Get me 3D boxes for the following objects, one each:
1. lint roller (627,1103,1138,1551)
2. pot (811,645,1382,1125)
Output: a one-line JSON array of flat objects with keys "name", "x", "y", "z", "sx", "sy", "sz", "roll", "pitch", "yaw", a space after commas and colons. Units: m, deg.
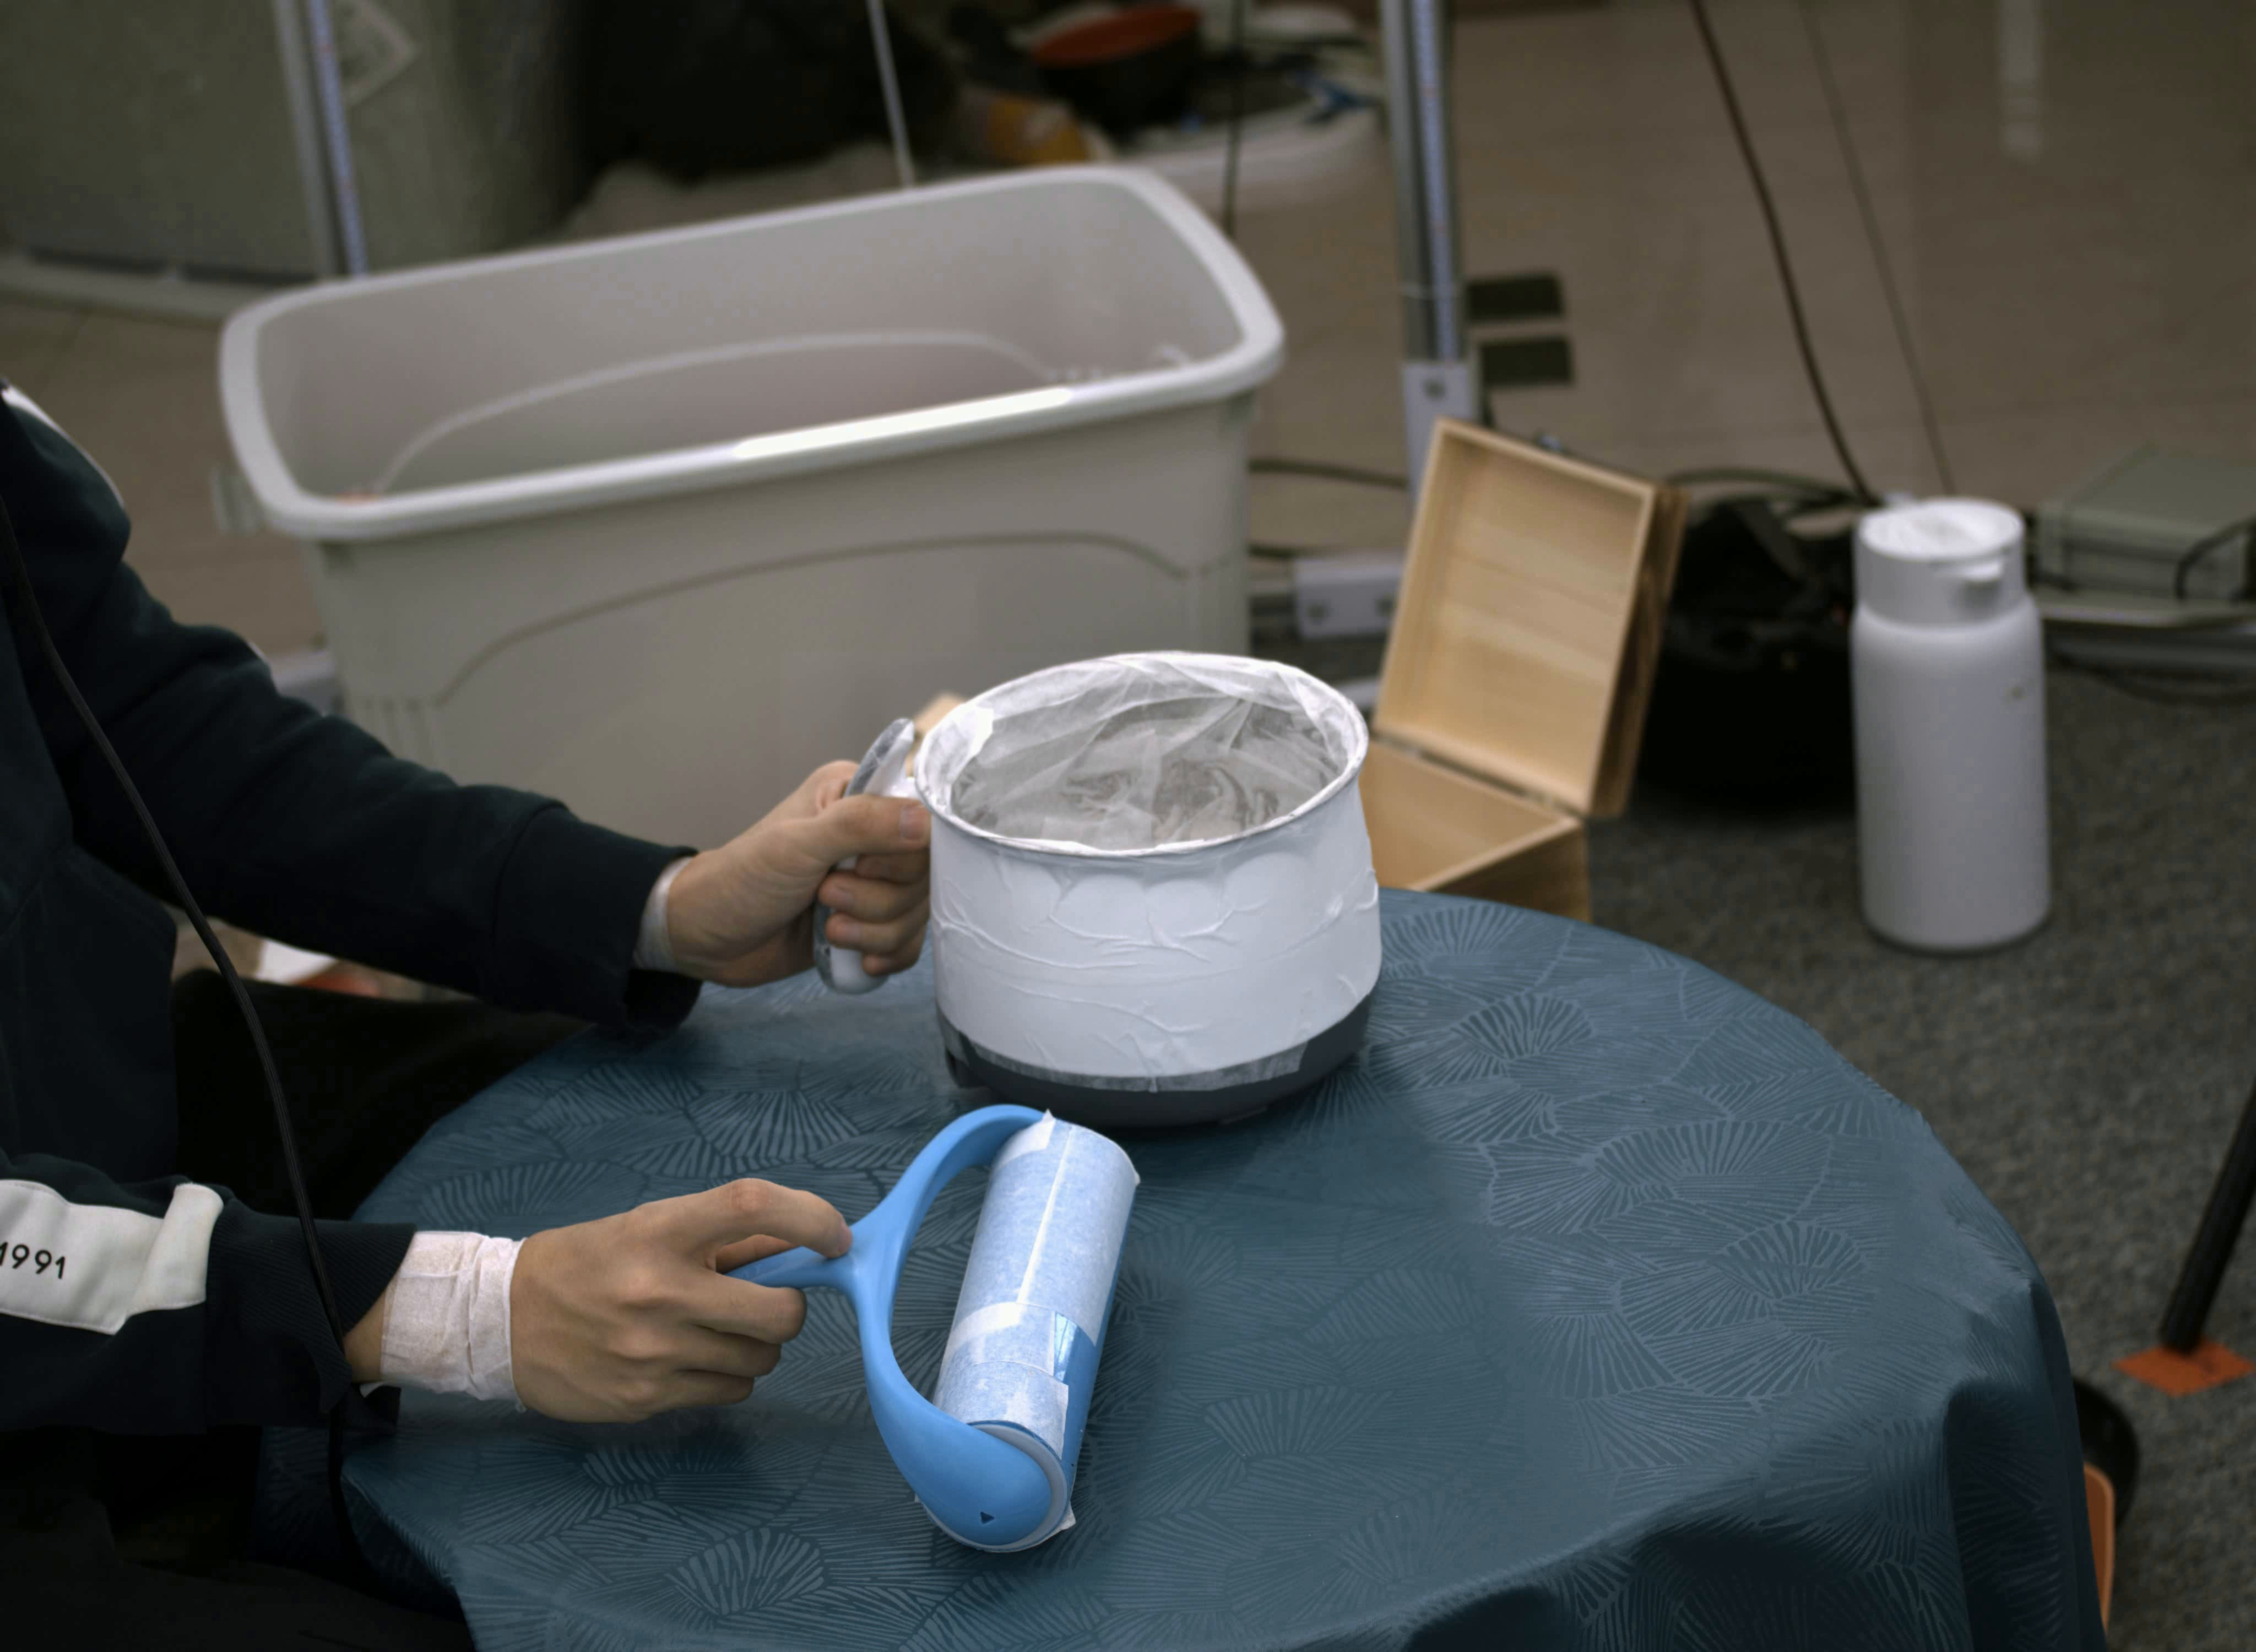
[{"name": "lint roller", "x": -0.090, "y": 0.176, "z": 1.999, "sx": 0.180, "sy": 0.069, "sz": 0.225, "roll": -1, "pitch": 31, "yaw": 4}, {"name": "pot", "x": -0.016, "y": 0.023, "z": 2.218, "sx": 0.233, "sy": 0.139, "sz": 0.176, "roll": 6, "pitch": 29, "yaw": 17}]
